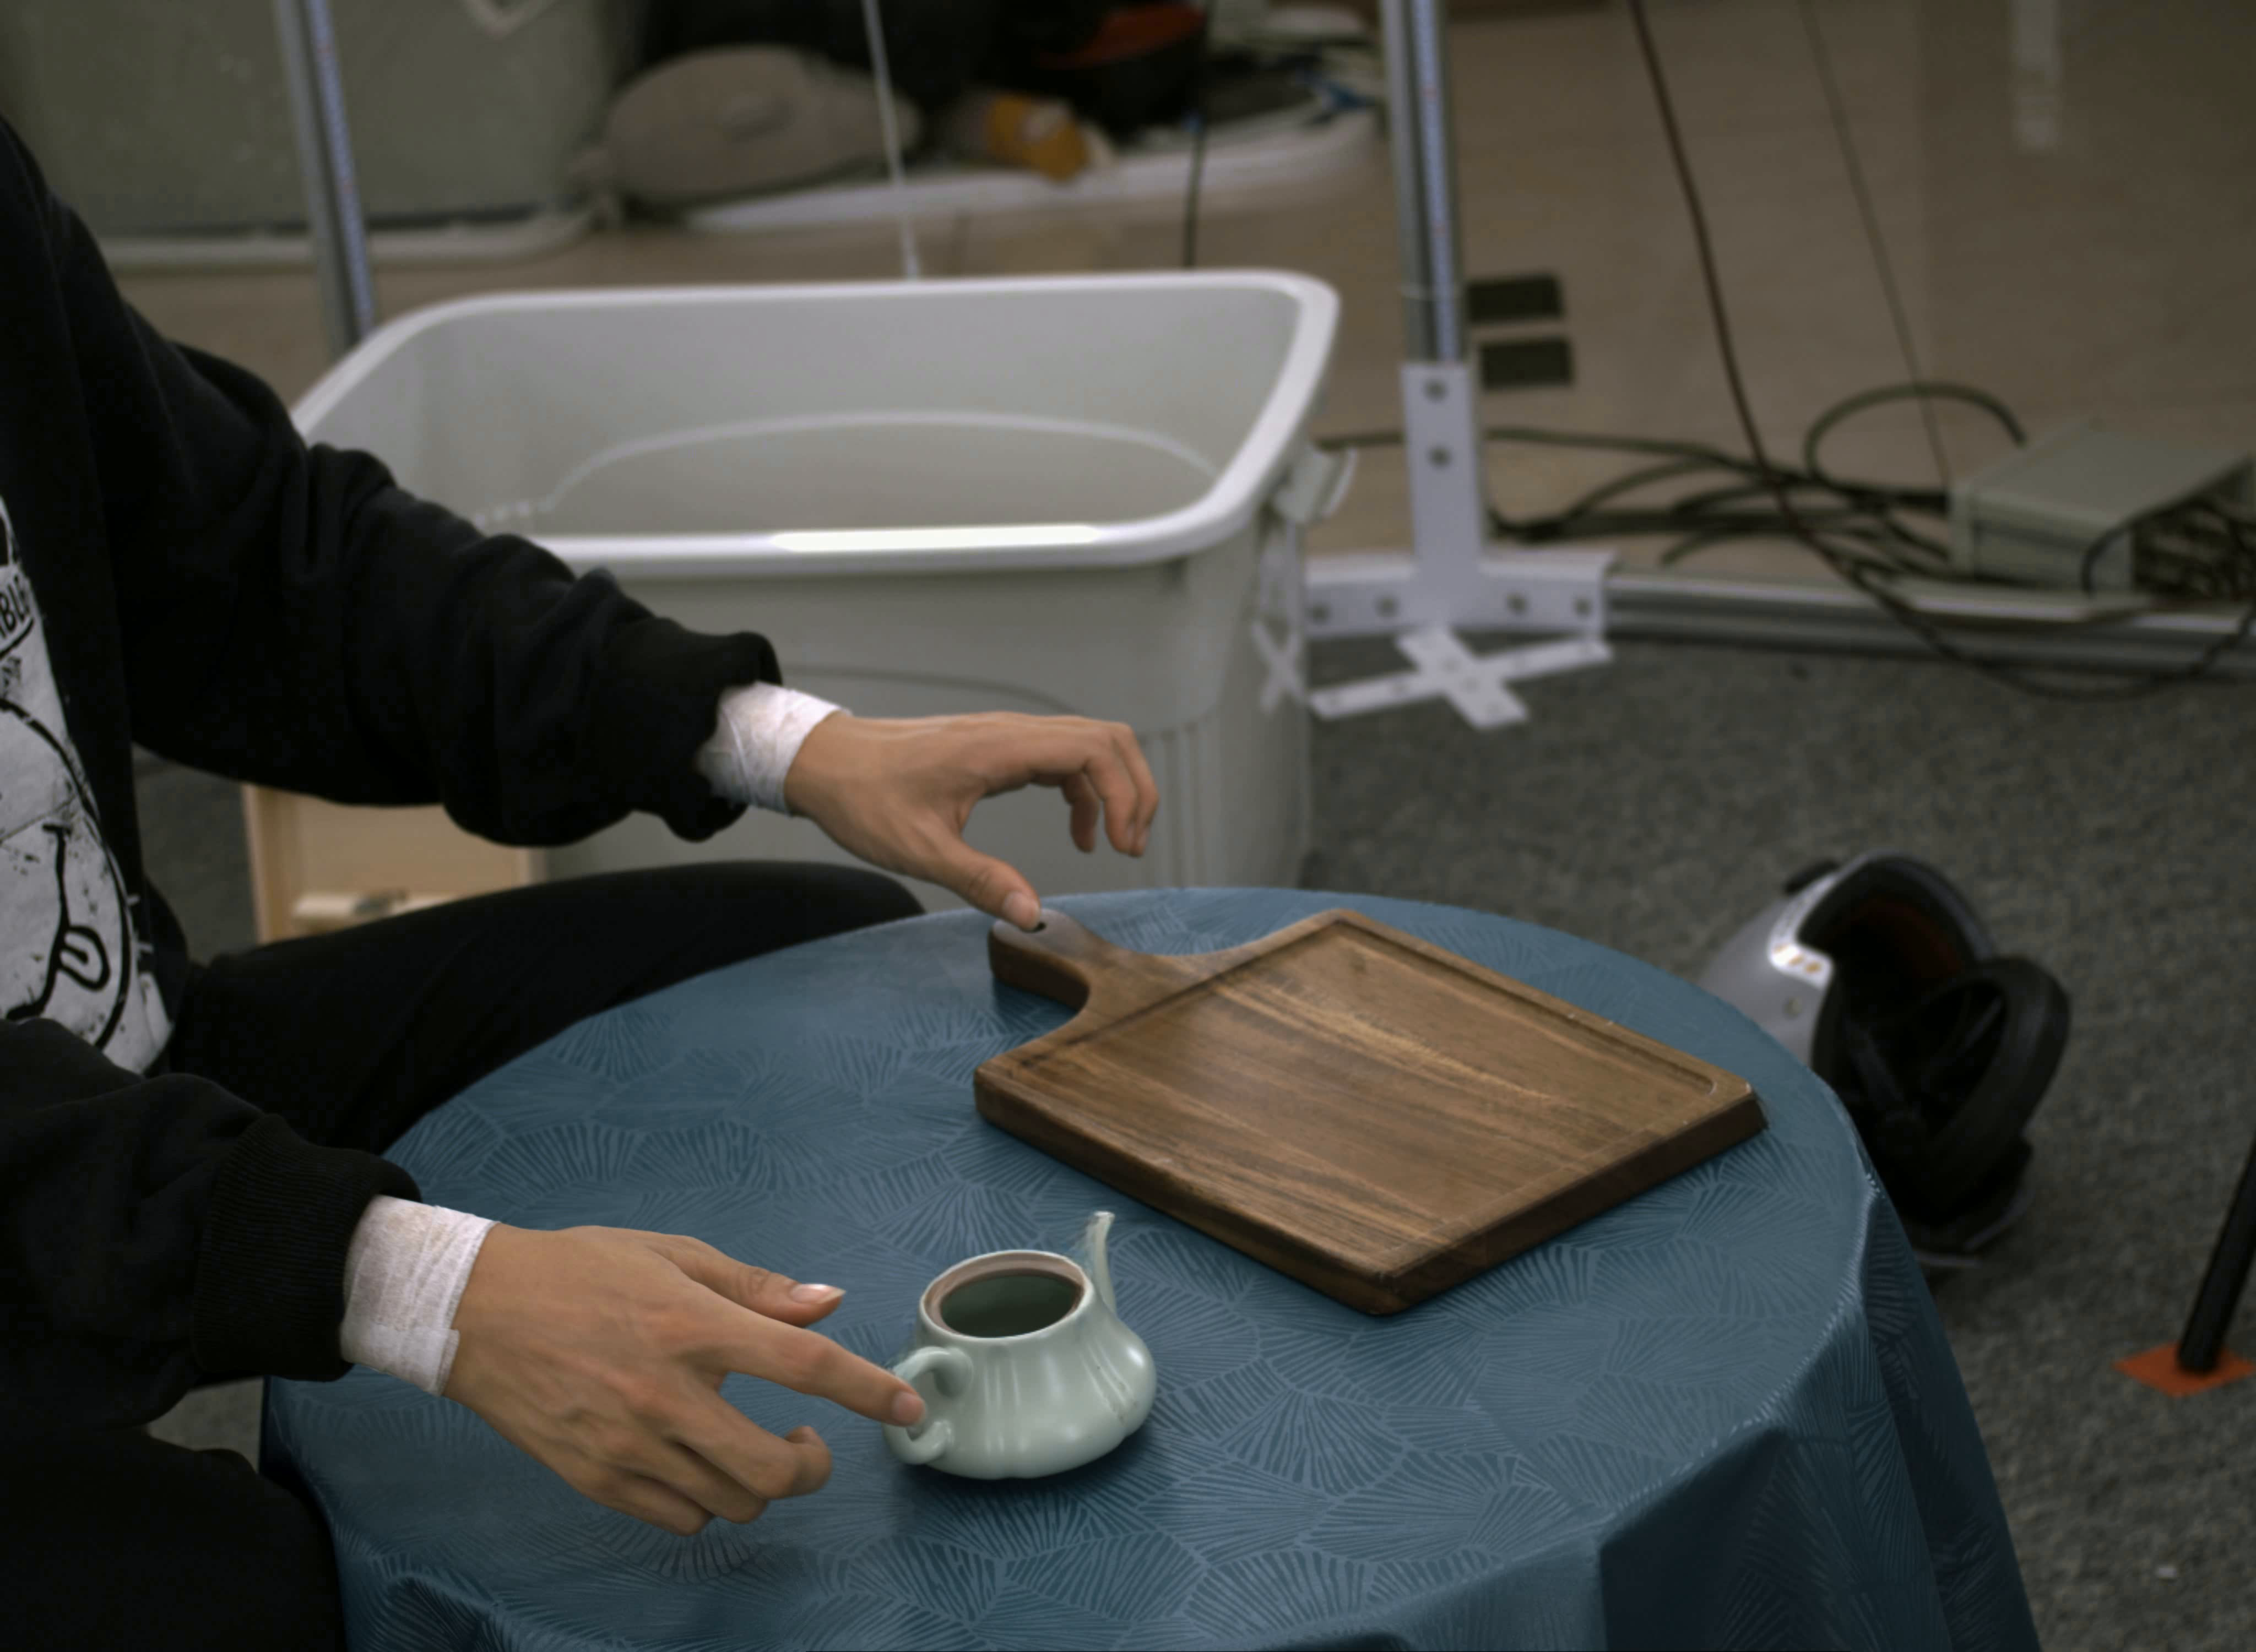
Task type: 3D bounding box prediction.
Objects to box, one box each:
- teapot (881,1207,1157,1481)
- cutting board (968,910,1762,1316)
[{"bbox_3d":[-0.042,0.189,1.982,0.096,0.062,0.135,10,30,30],"label":"teapot"},{"bbox_3d":[0.058,0.092,2.211,0.199,0.023,0.349,-24,30,-33],"label":"cutting board"}]
